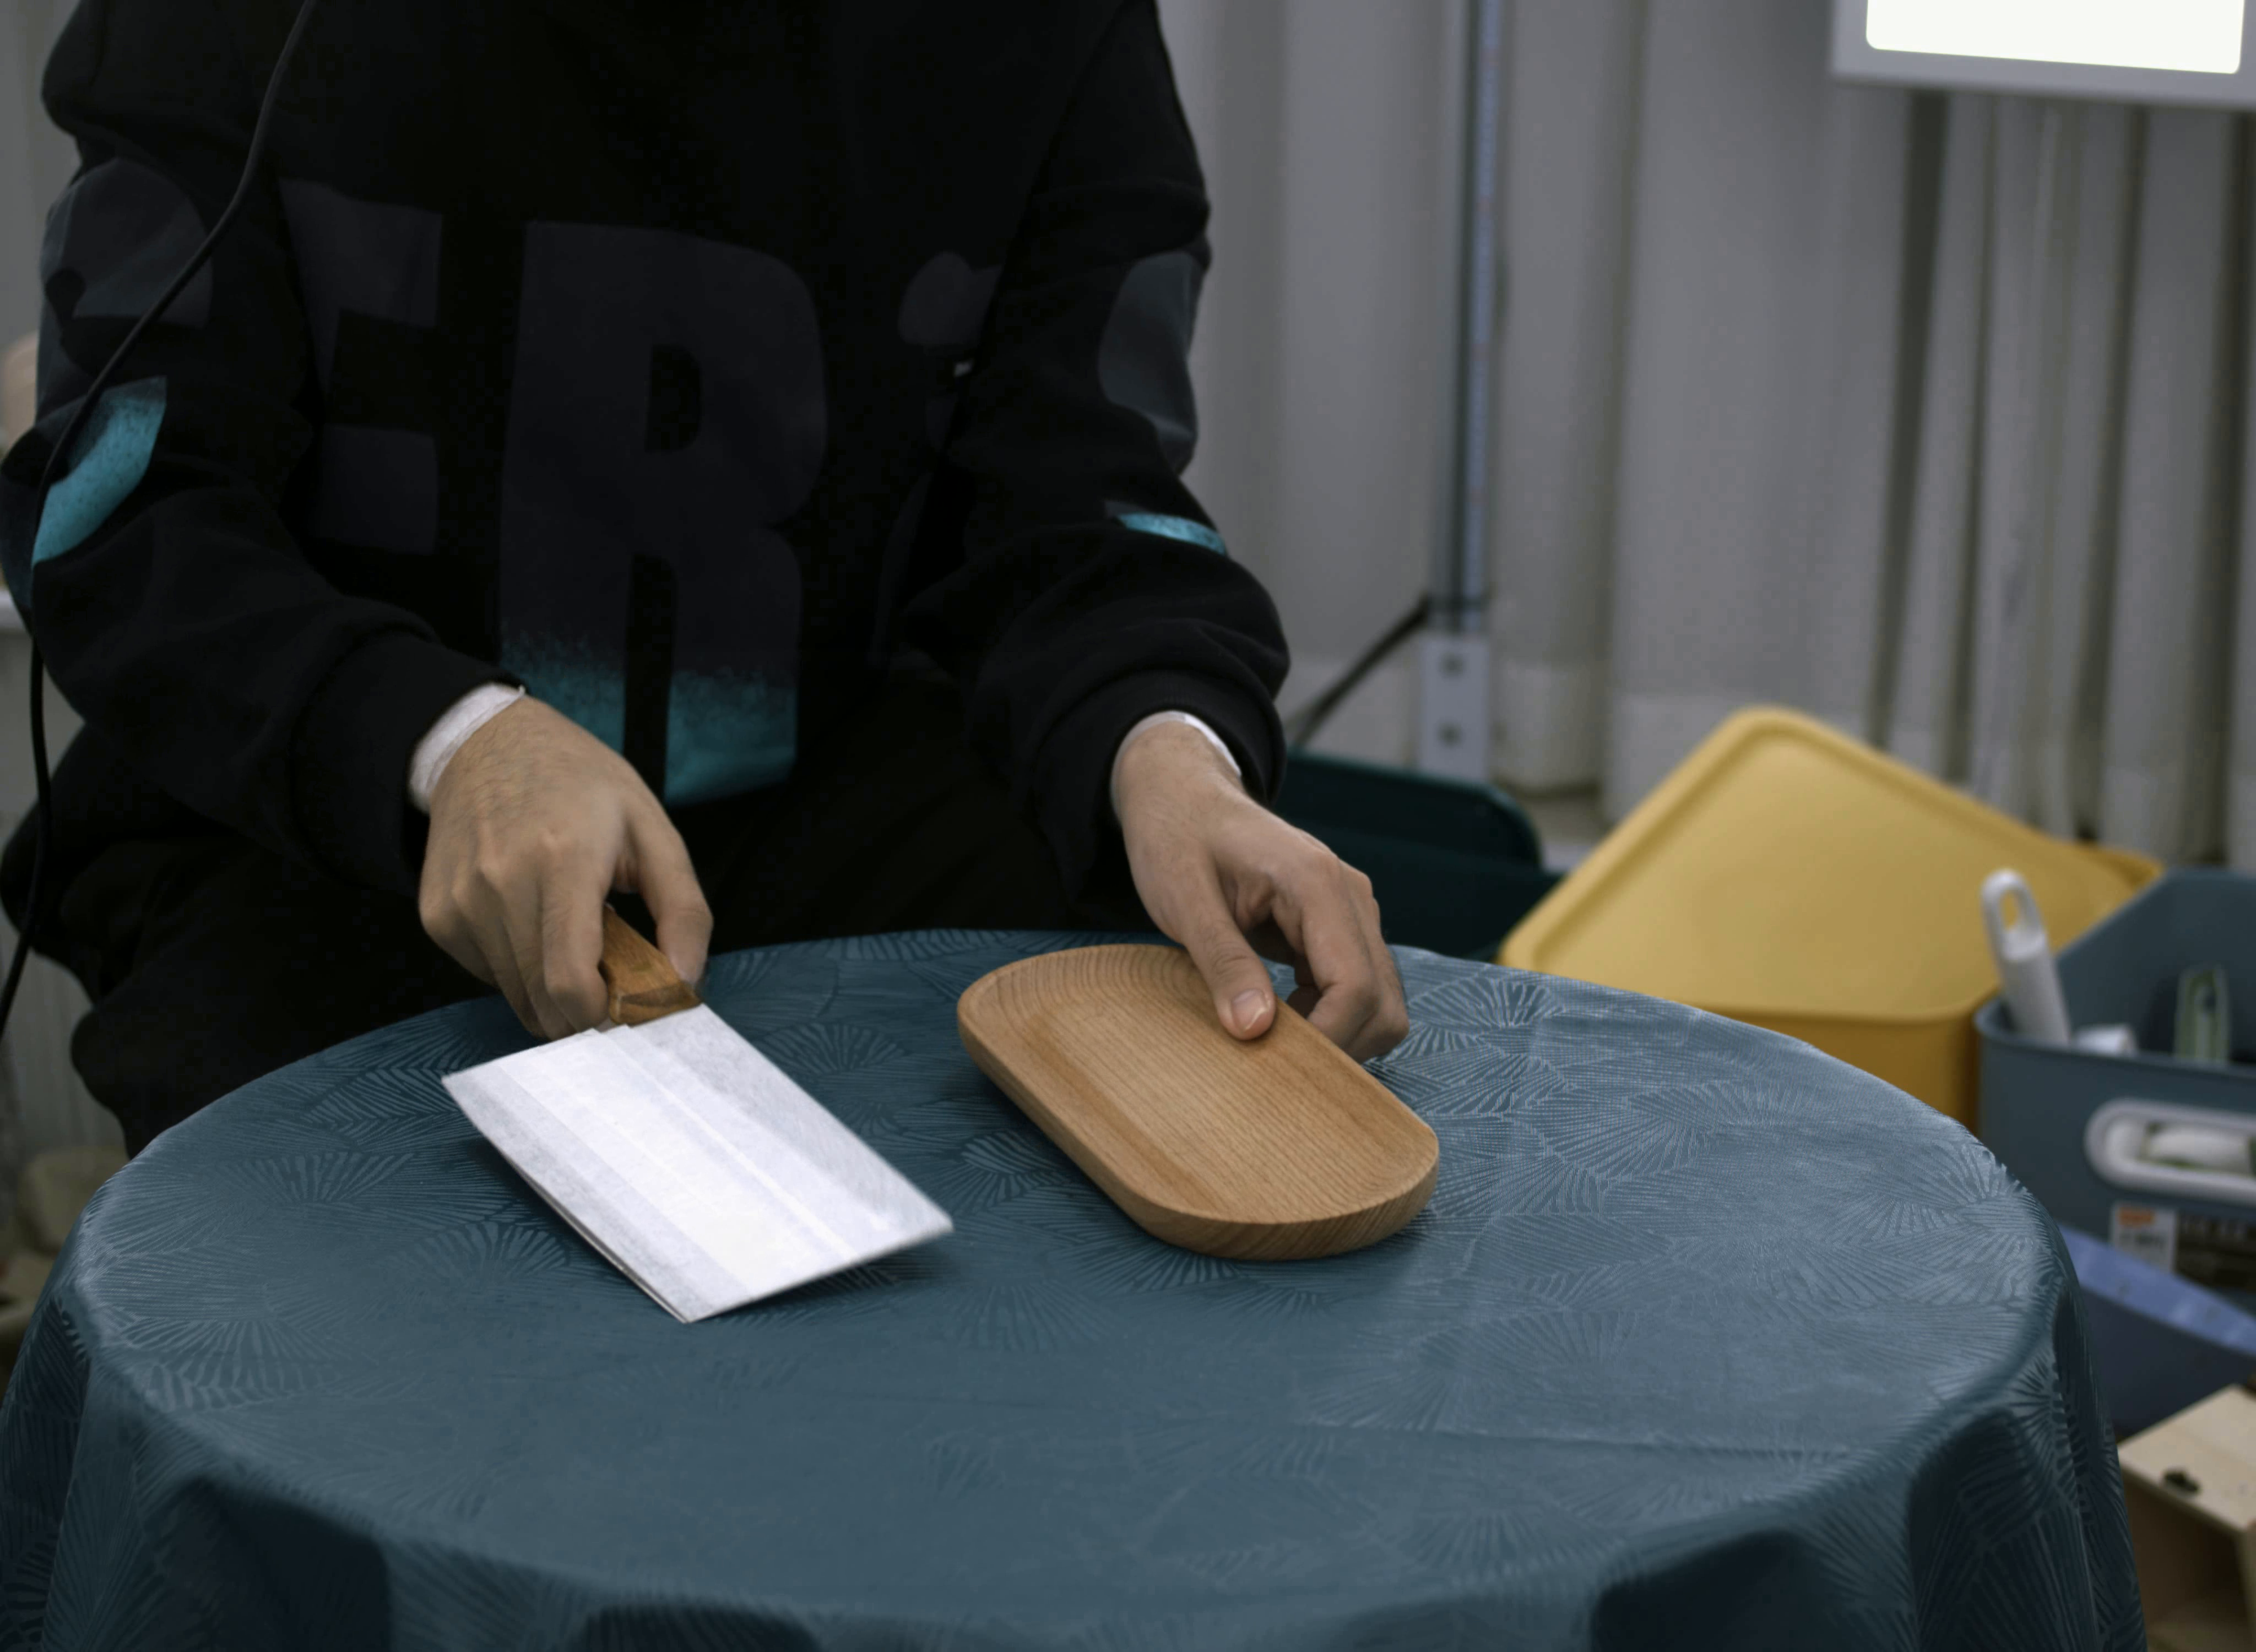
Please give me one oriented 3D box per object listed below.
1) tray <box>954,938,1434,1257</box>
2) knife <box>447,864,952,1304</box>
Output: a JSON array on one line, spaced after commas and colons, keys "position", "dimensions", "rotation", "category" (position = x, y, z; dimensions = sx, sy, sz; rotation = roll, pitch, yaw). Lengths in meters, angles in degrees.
[{"position": [0.019, 0.083, 1.663], "dimensions": [0.102, 0.020, 0.228], "rotation": [-10, 21, -20], "category": "tray"}, {"position": [-0.159, 0.080, 1.650], "dimensions": [0.093, 0.021, 0.301], "rotation": [-16, 28, -24], "category": "knife"}]
